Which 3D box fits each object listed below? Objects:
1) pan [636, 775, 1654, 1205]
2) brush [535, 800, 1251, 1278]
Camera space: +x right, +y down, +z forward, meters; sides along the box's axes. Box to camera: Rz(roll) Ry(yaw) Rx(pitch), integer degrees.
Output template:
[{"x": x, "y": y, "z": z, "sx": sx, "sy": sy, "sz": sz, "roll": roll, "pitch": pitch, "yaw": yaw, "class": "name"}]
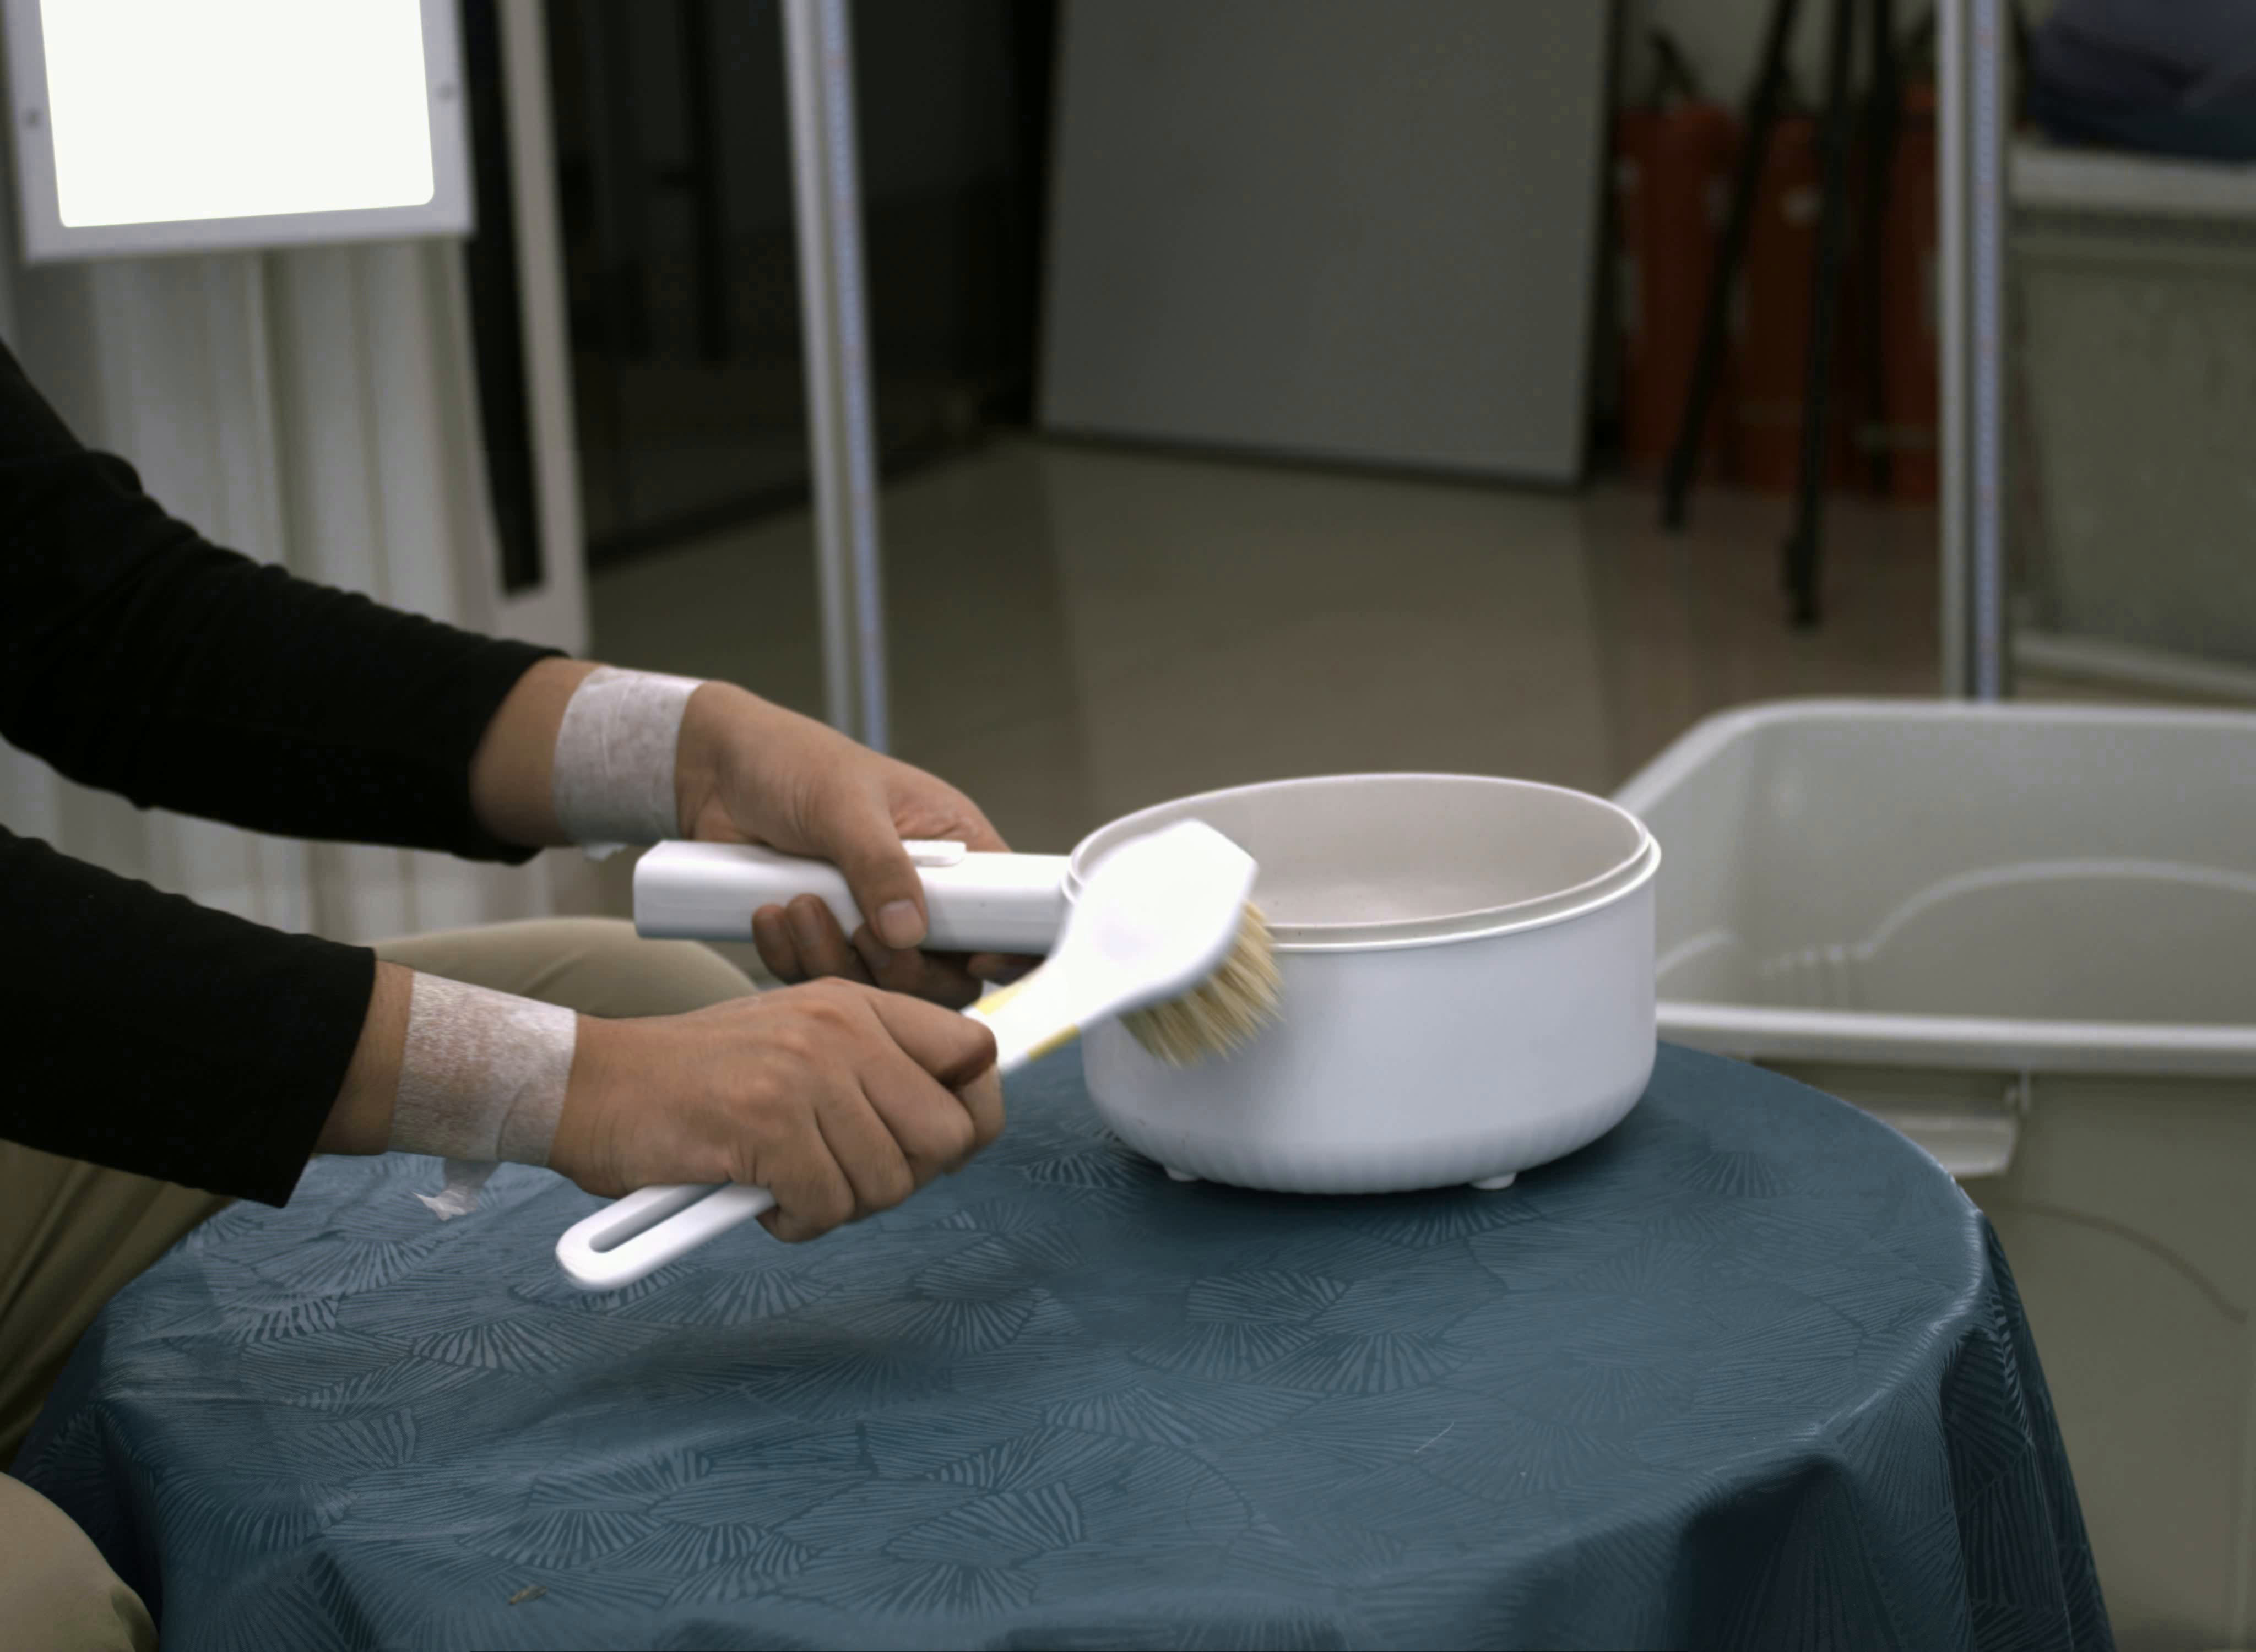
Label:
[{"x": 0.006, "y": 0.058, "z": 1.825, "sx": 0.353, "sy": 0.103, "sz": 0.199, "roll": -1, "pitch": 15, "yaw": 17, "class": "pan"}, {"x": -0.069, "y": 0.081, "z": 1.652, "sx": 0.263, "sy": 0.056, "sz": 0.069, "roll": -35, "pitch": 37, "yaw": -26, "class": "brush"}]
